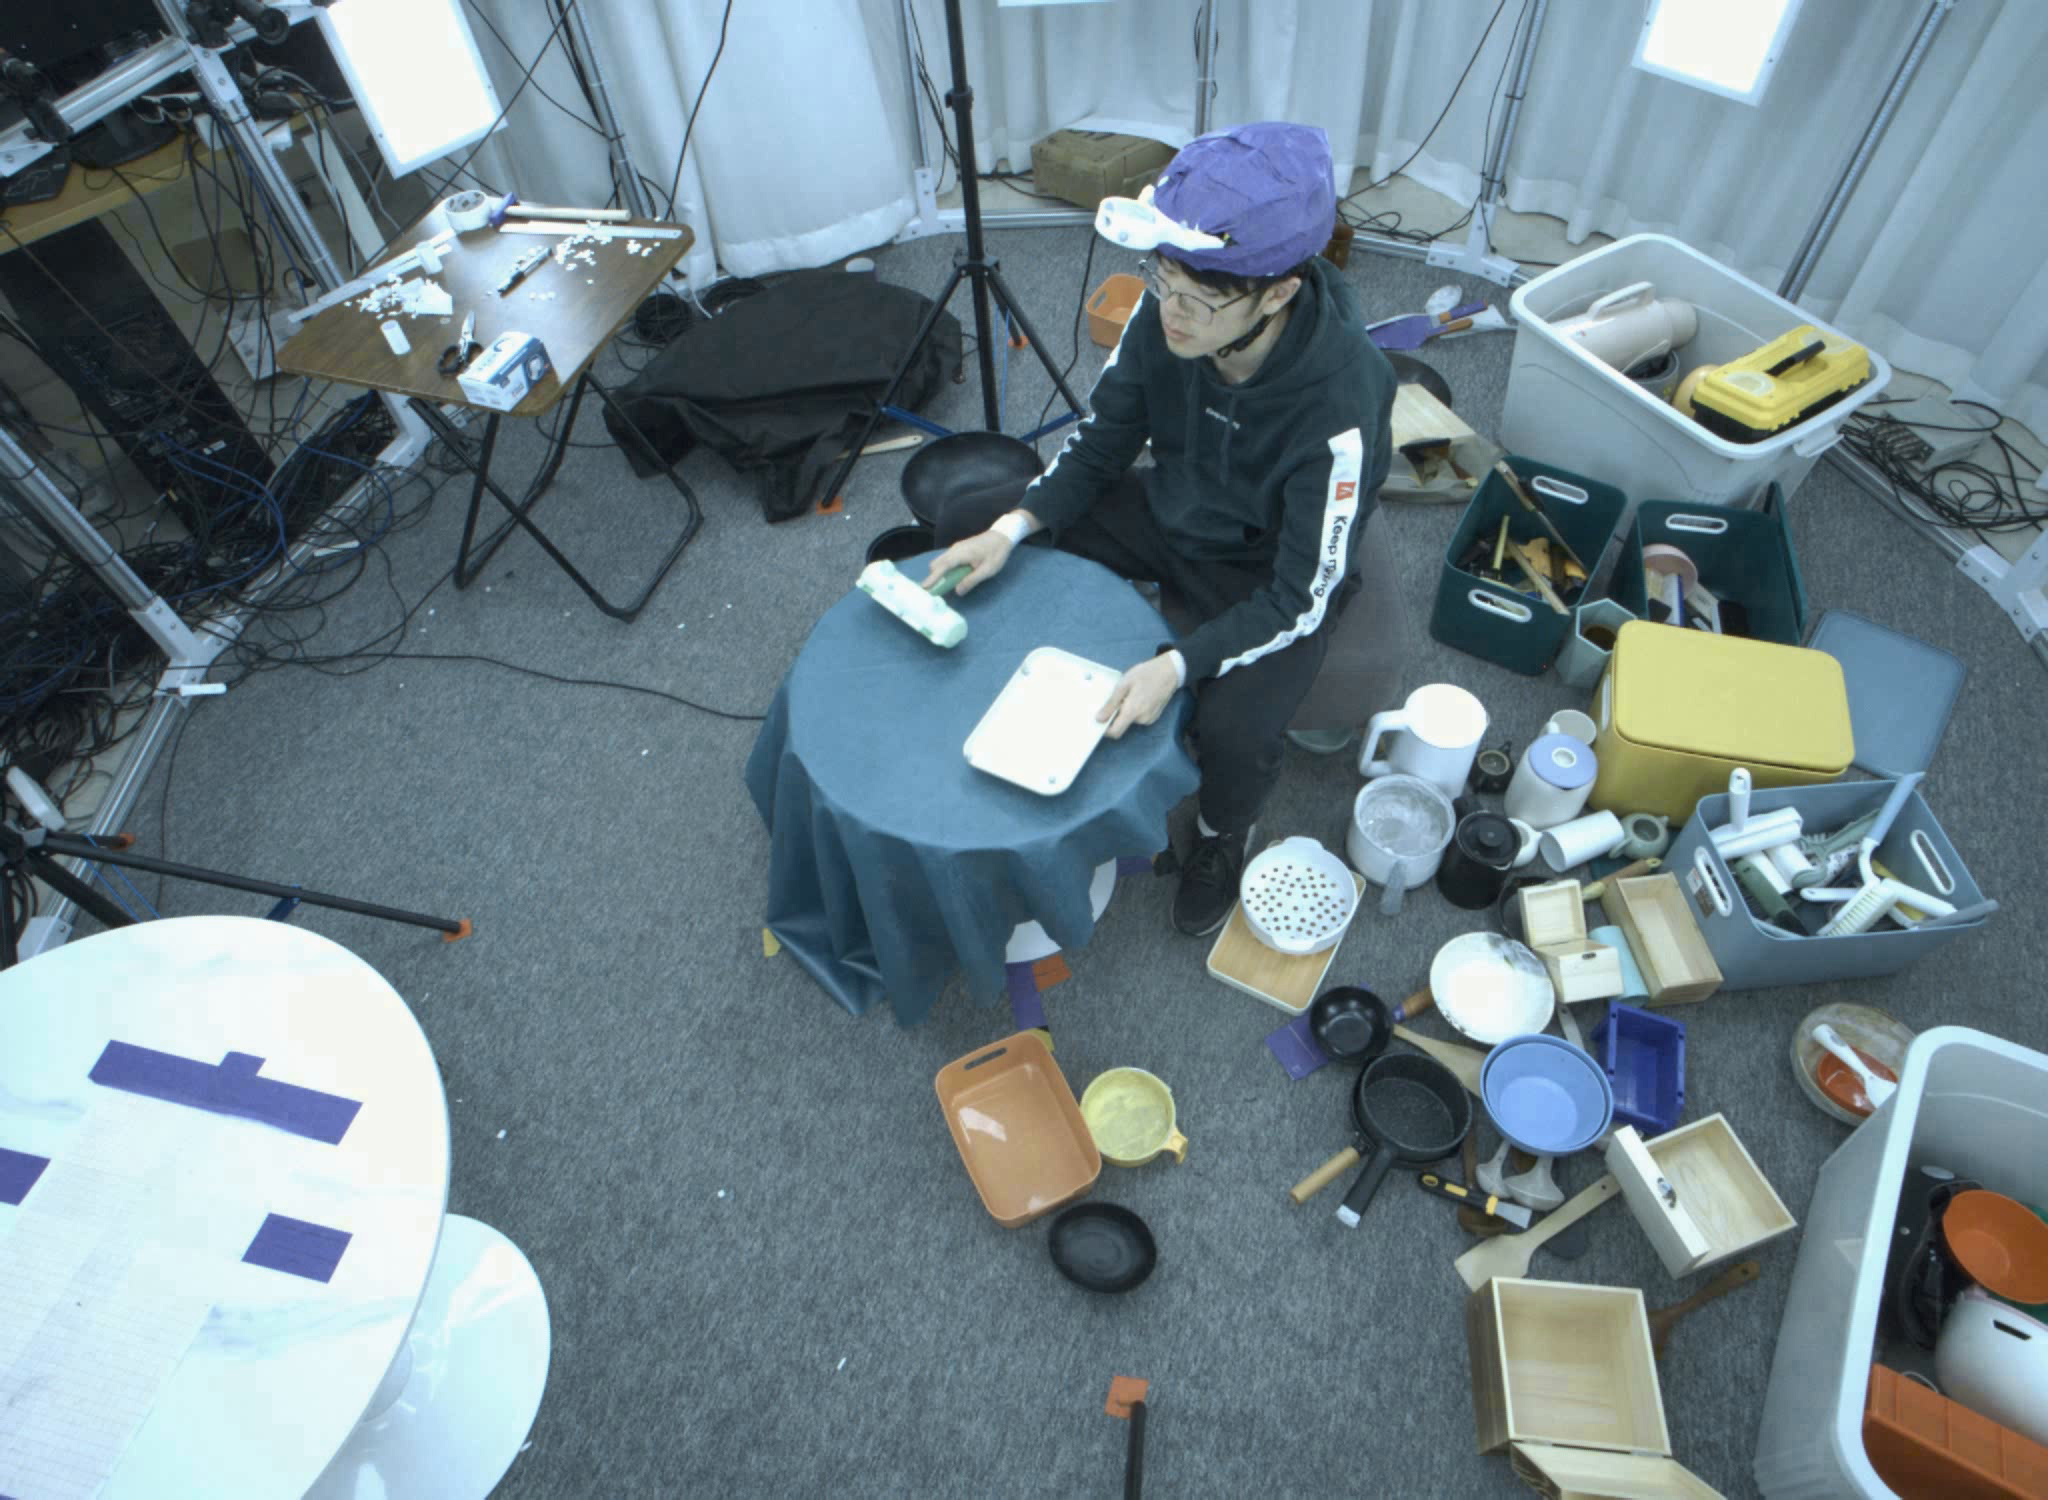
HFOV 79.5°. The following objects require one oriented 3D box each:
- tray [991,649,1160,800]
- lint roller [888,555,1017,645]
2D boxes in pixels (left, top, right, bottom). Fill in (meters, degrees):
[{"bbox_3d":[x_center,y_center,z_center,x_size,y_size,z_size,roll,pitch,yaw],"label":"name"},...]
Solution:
[{"bbox_3d":[0.076,-0.038,1.757,0.169,0.017,0.240,25,59,18],"label":"tray"},{"bbox_3d":[-0.085,-0.267,1.899,0.184,0.083,0.195,-41,61,-20],"label":"lint roller"}]
